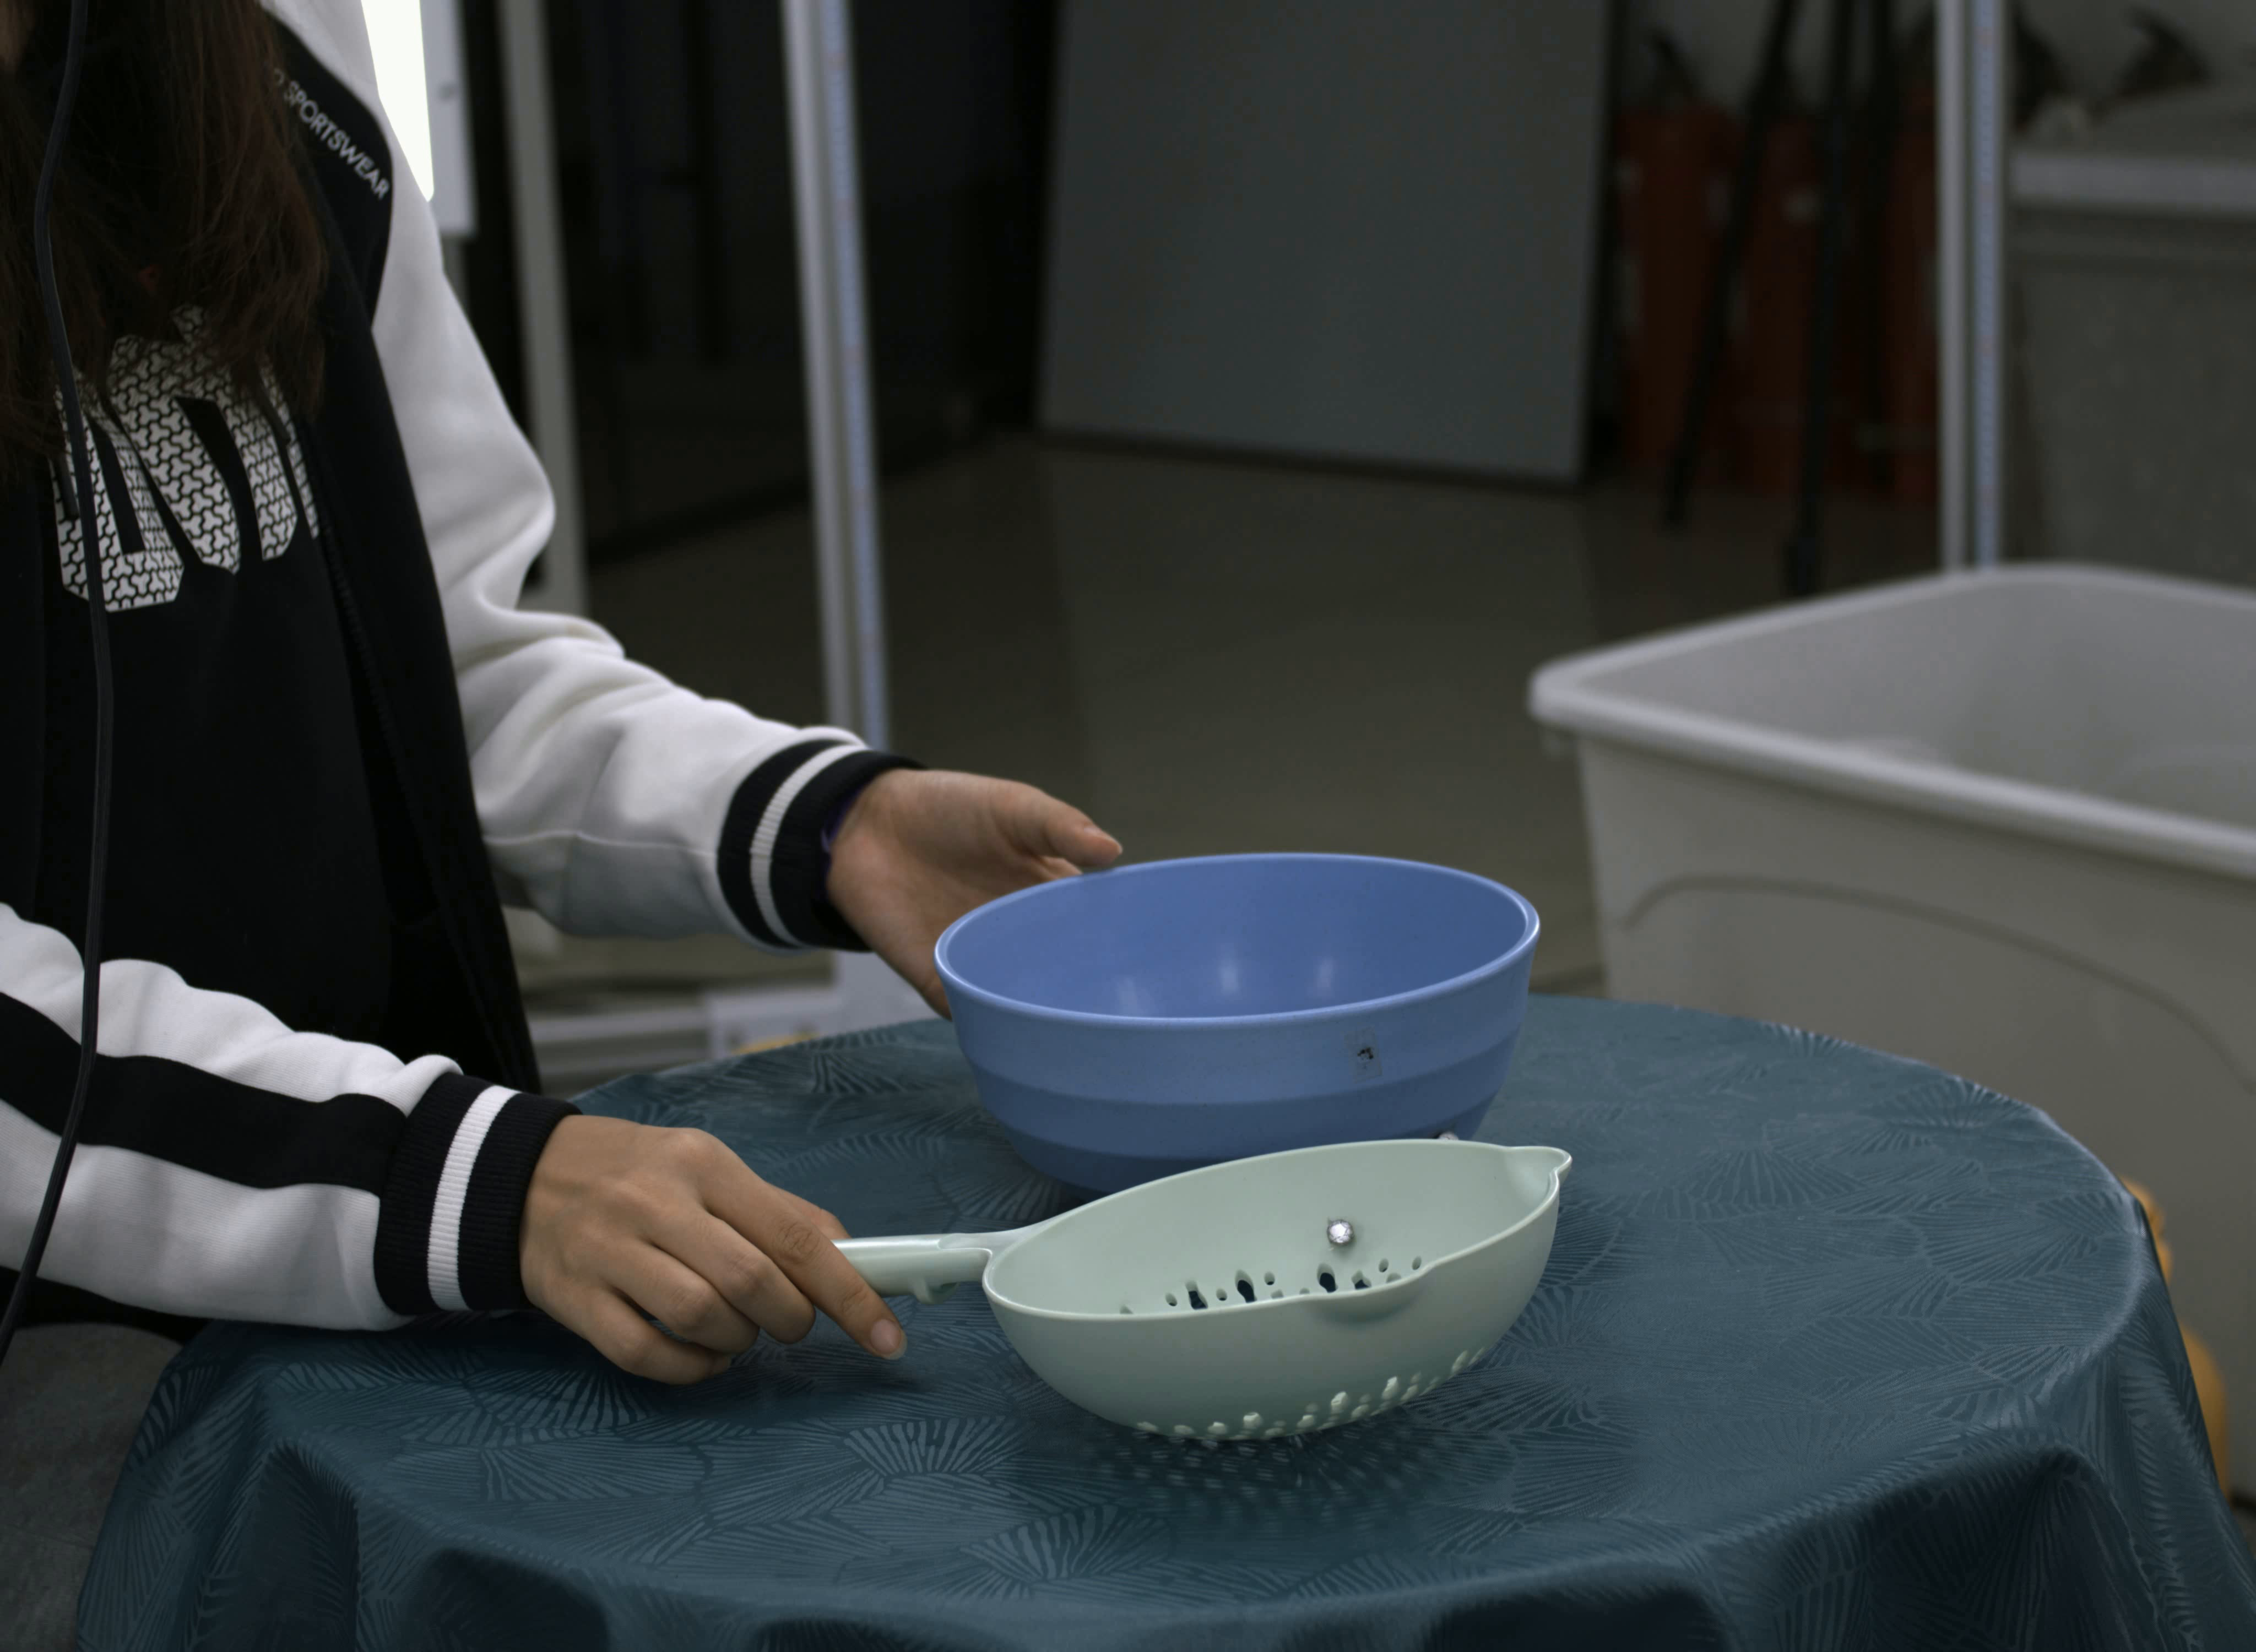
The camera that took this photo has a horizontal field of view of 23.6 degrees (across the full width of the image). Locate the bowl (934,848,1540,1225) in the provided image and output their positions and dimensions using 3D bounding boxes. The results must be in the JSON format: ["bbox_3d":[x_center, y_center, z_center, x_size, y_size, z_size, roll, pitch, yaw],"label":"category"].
[{"bbox_3d":[0.038,0.078,1.733,0.194,0.096,0.197,-4,14,0],"label":"bowl"}]

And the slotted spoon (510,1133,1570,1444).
[{"bbox_3d":[-0.039,0.137,1.598,0.360,0.076,0.167,2,13,30],"label":"slotted spoon"}]
